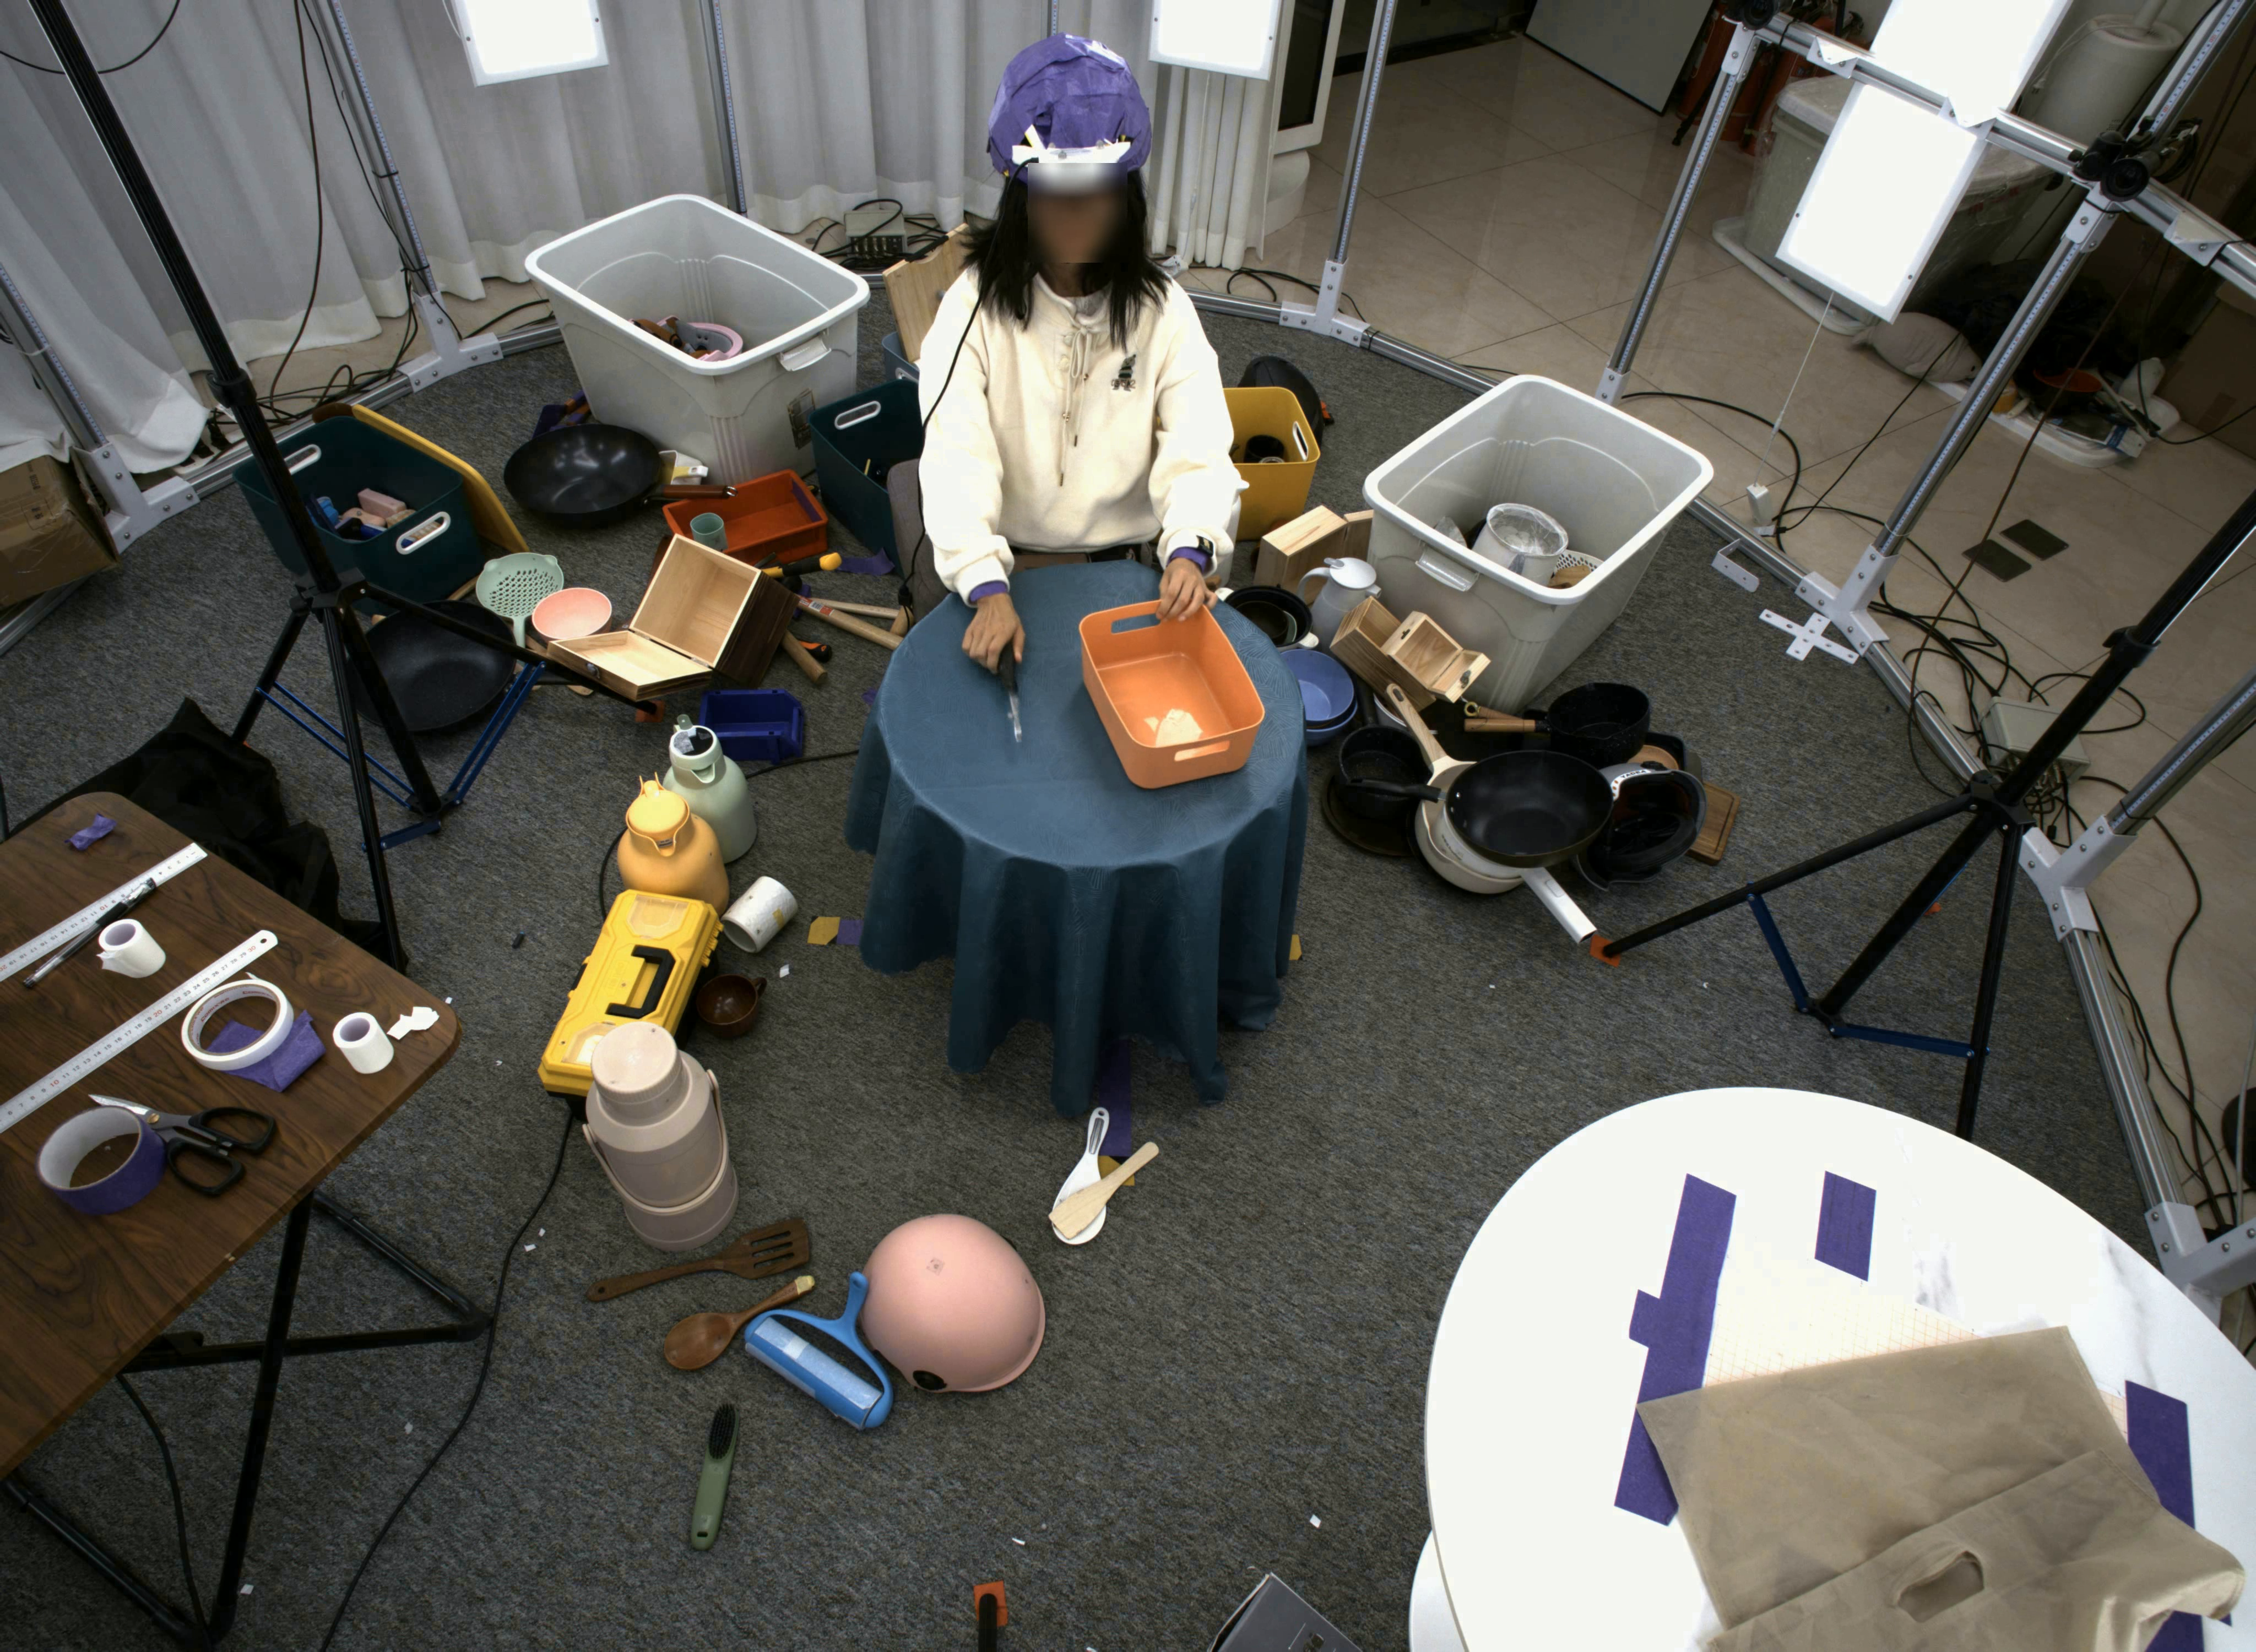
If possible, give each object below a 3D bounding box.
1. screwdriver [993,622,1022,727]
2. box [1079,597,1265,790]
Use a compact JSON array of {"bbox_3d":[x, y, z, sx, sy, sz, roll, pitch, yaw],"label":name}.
[{"bbox_3d":[-0.160,-0.210,1.787,0.031,0.031,0.203,-8,52,-11],"label":"screwdriver"},{"bbox_3d":[0.055,-0.181,1.763,0.199,0.100,0.280,-13,52,-14],"label":"box"}]
